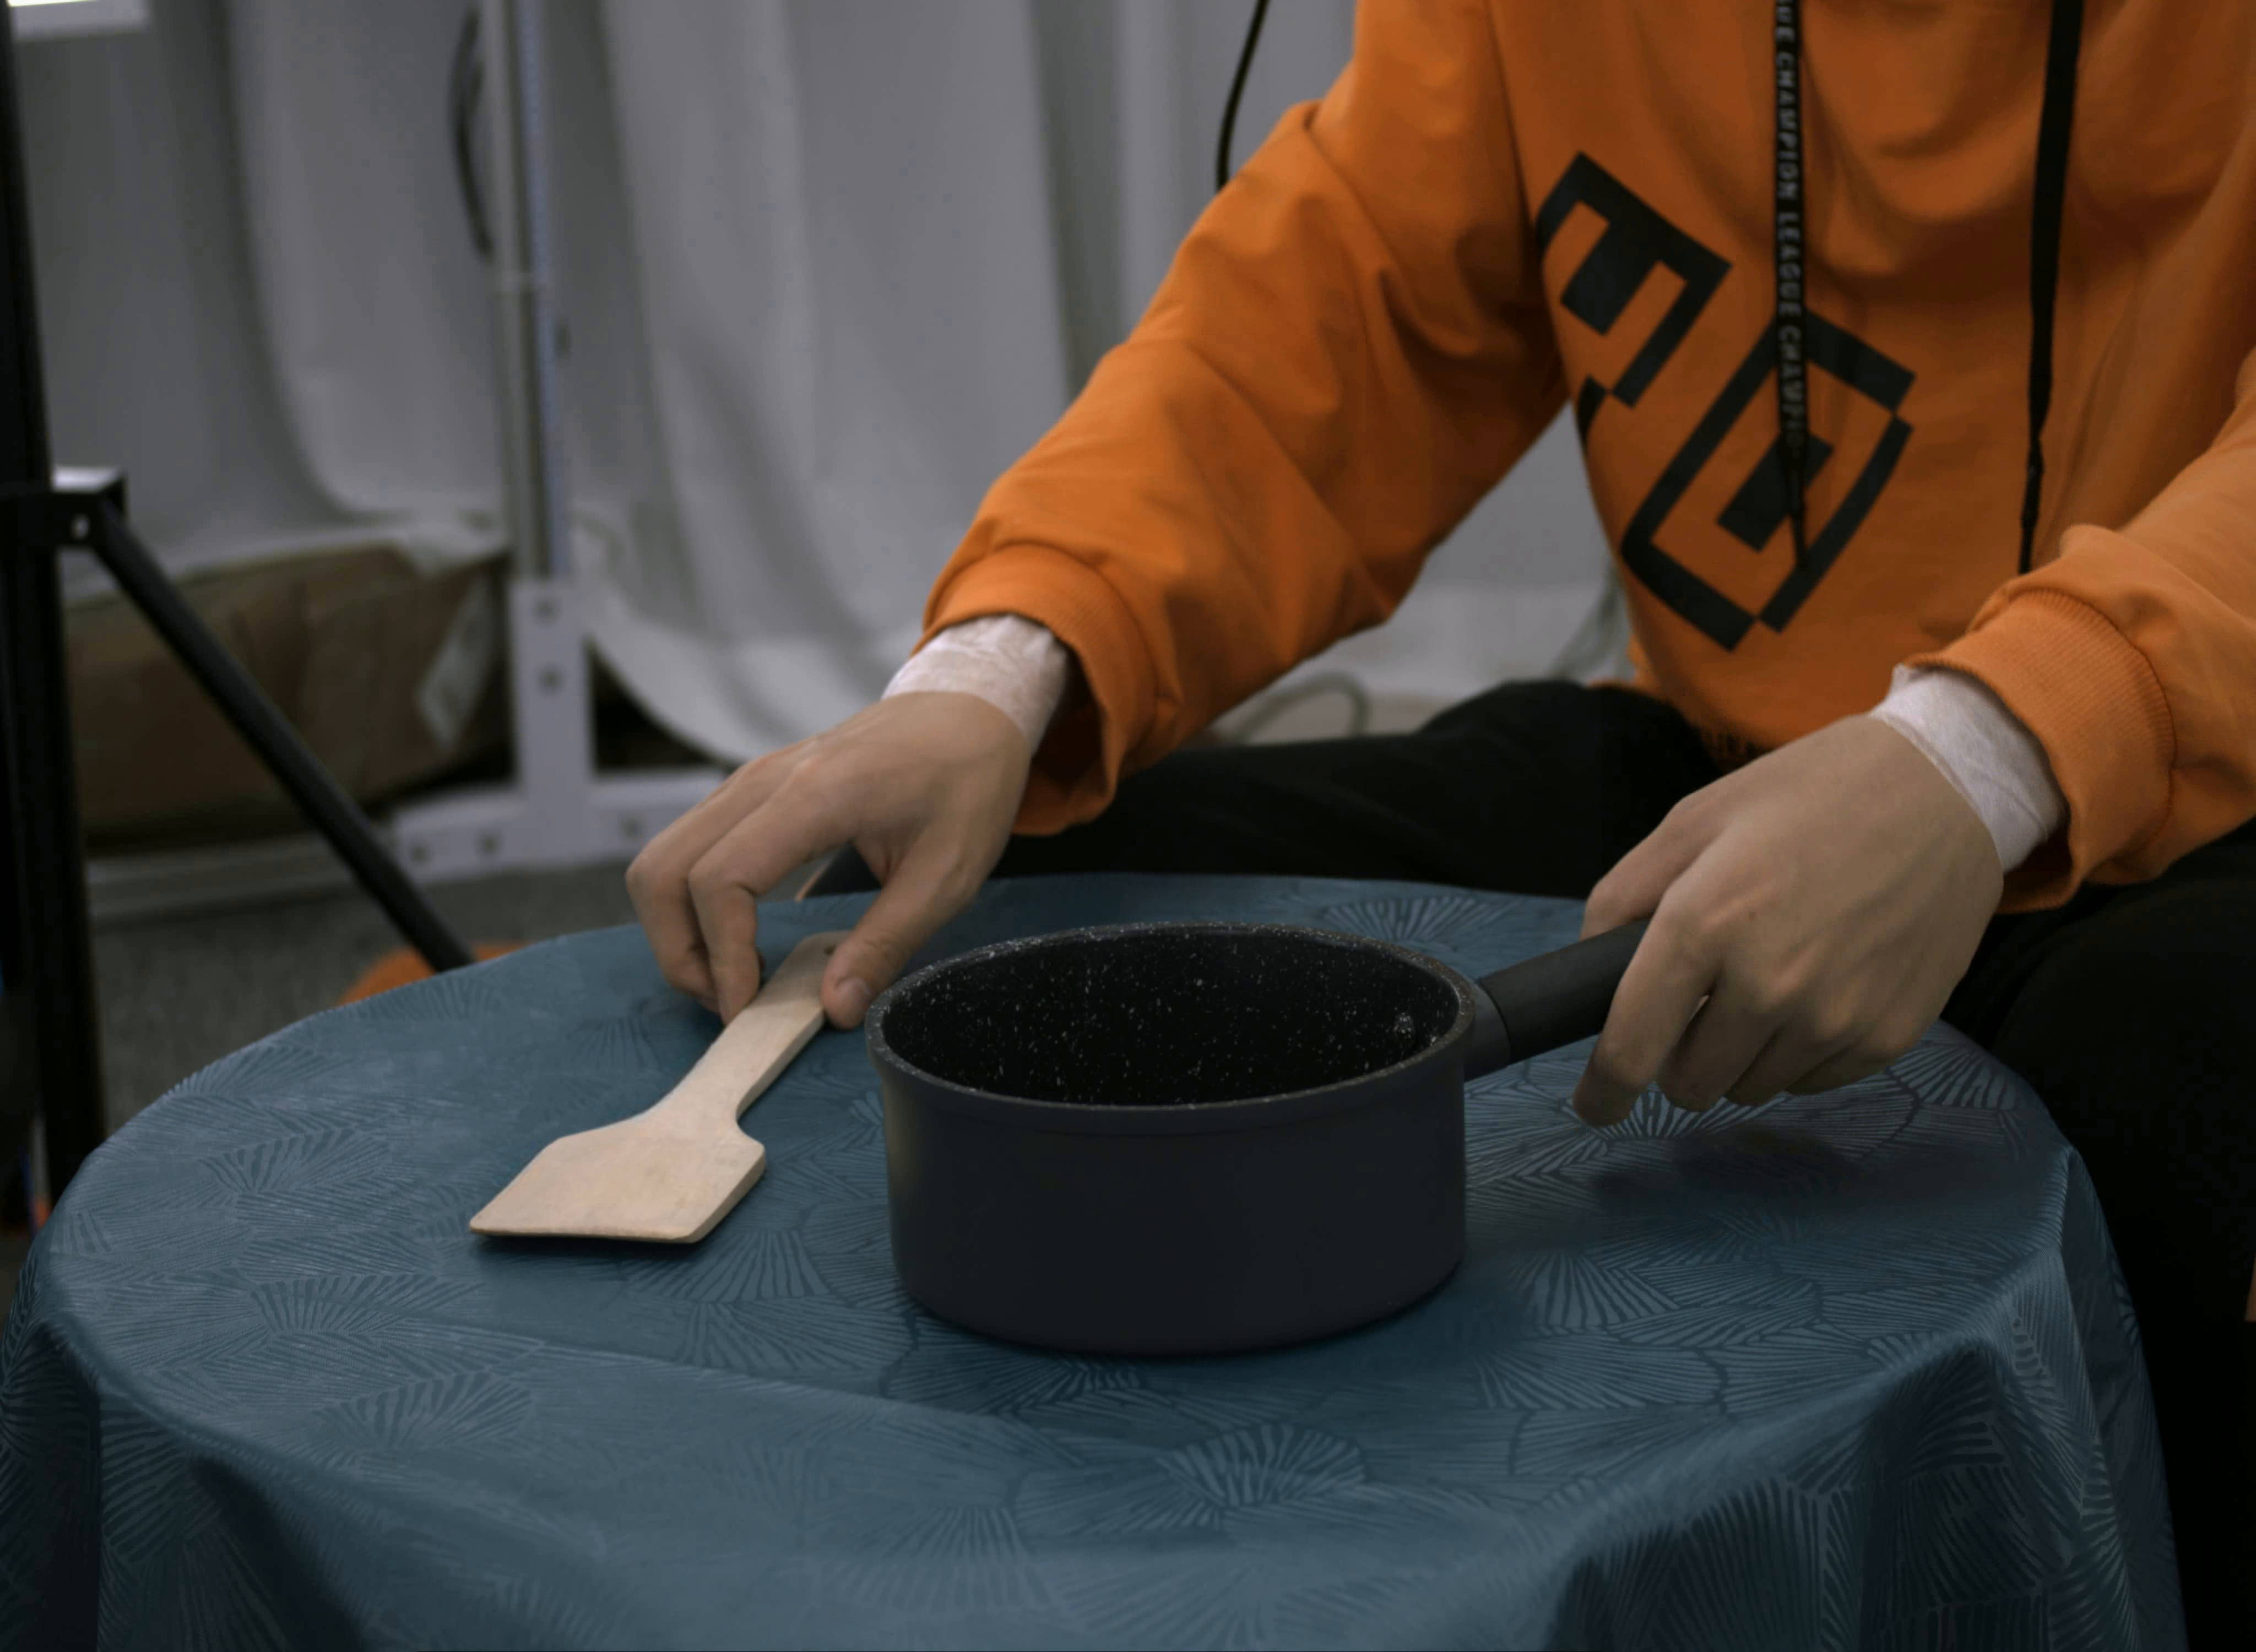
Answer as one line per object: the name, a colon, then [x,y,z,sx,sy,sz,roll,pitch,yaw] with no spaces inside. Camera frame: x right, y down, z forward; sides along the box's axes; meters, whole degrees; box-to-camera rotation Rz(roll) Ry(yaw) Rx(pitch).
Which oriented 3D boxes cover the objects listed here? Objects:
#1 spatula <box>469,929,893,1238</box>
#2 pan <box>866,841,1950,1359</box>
spatula: [-0.126,0.079,1.665,0.073,0.010,0.291,-2,16,15]
pan: [0.086,0.073,1.514,0.323,0.086,0.175,-10,18,-19]
